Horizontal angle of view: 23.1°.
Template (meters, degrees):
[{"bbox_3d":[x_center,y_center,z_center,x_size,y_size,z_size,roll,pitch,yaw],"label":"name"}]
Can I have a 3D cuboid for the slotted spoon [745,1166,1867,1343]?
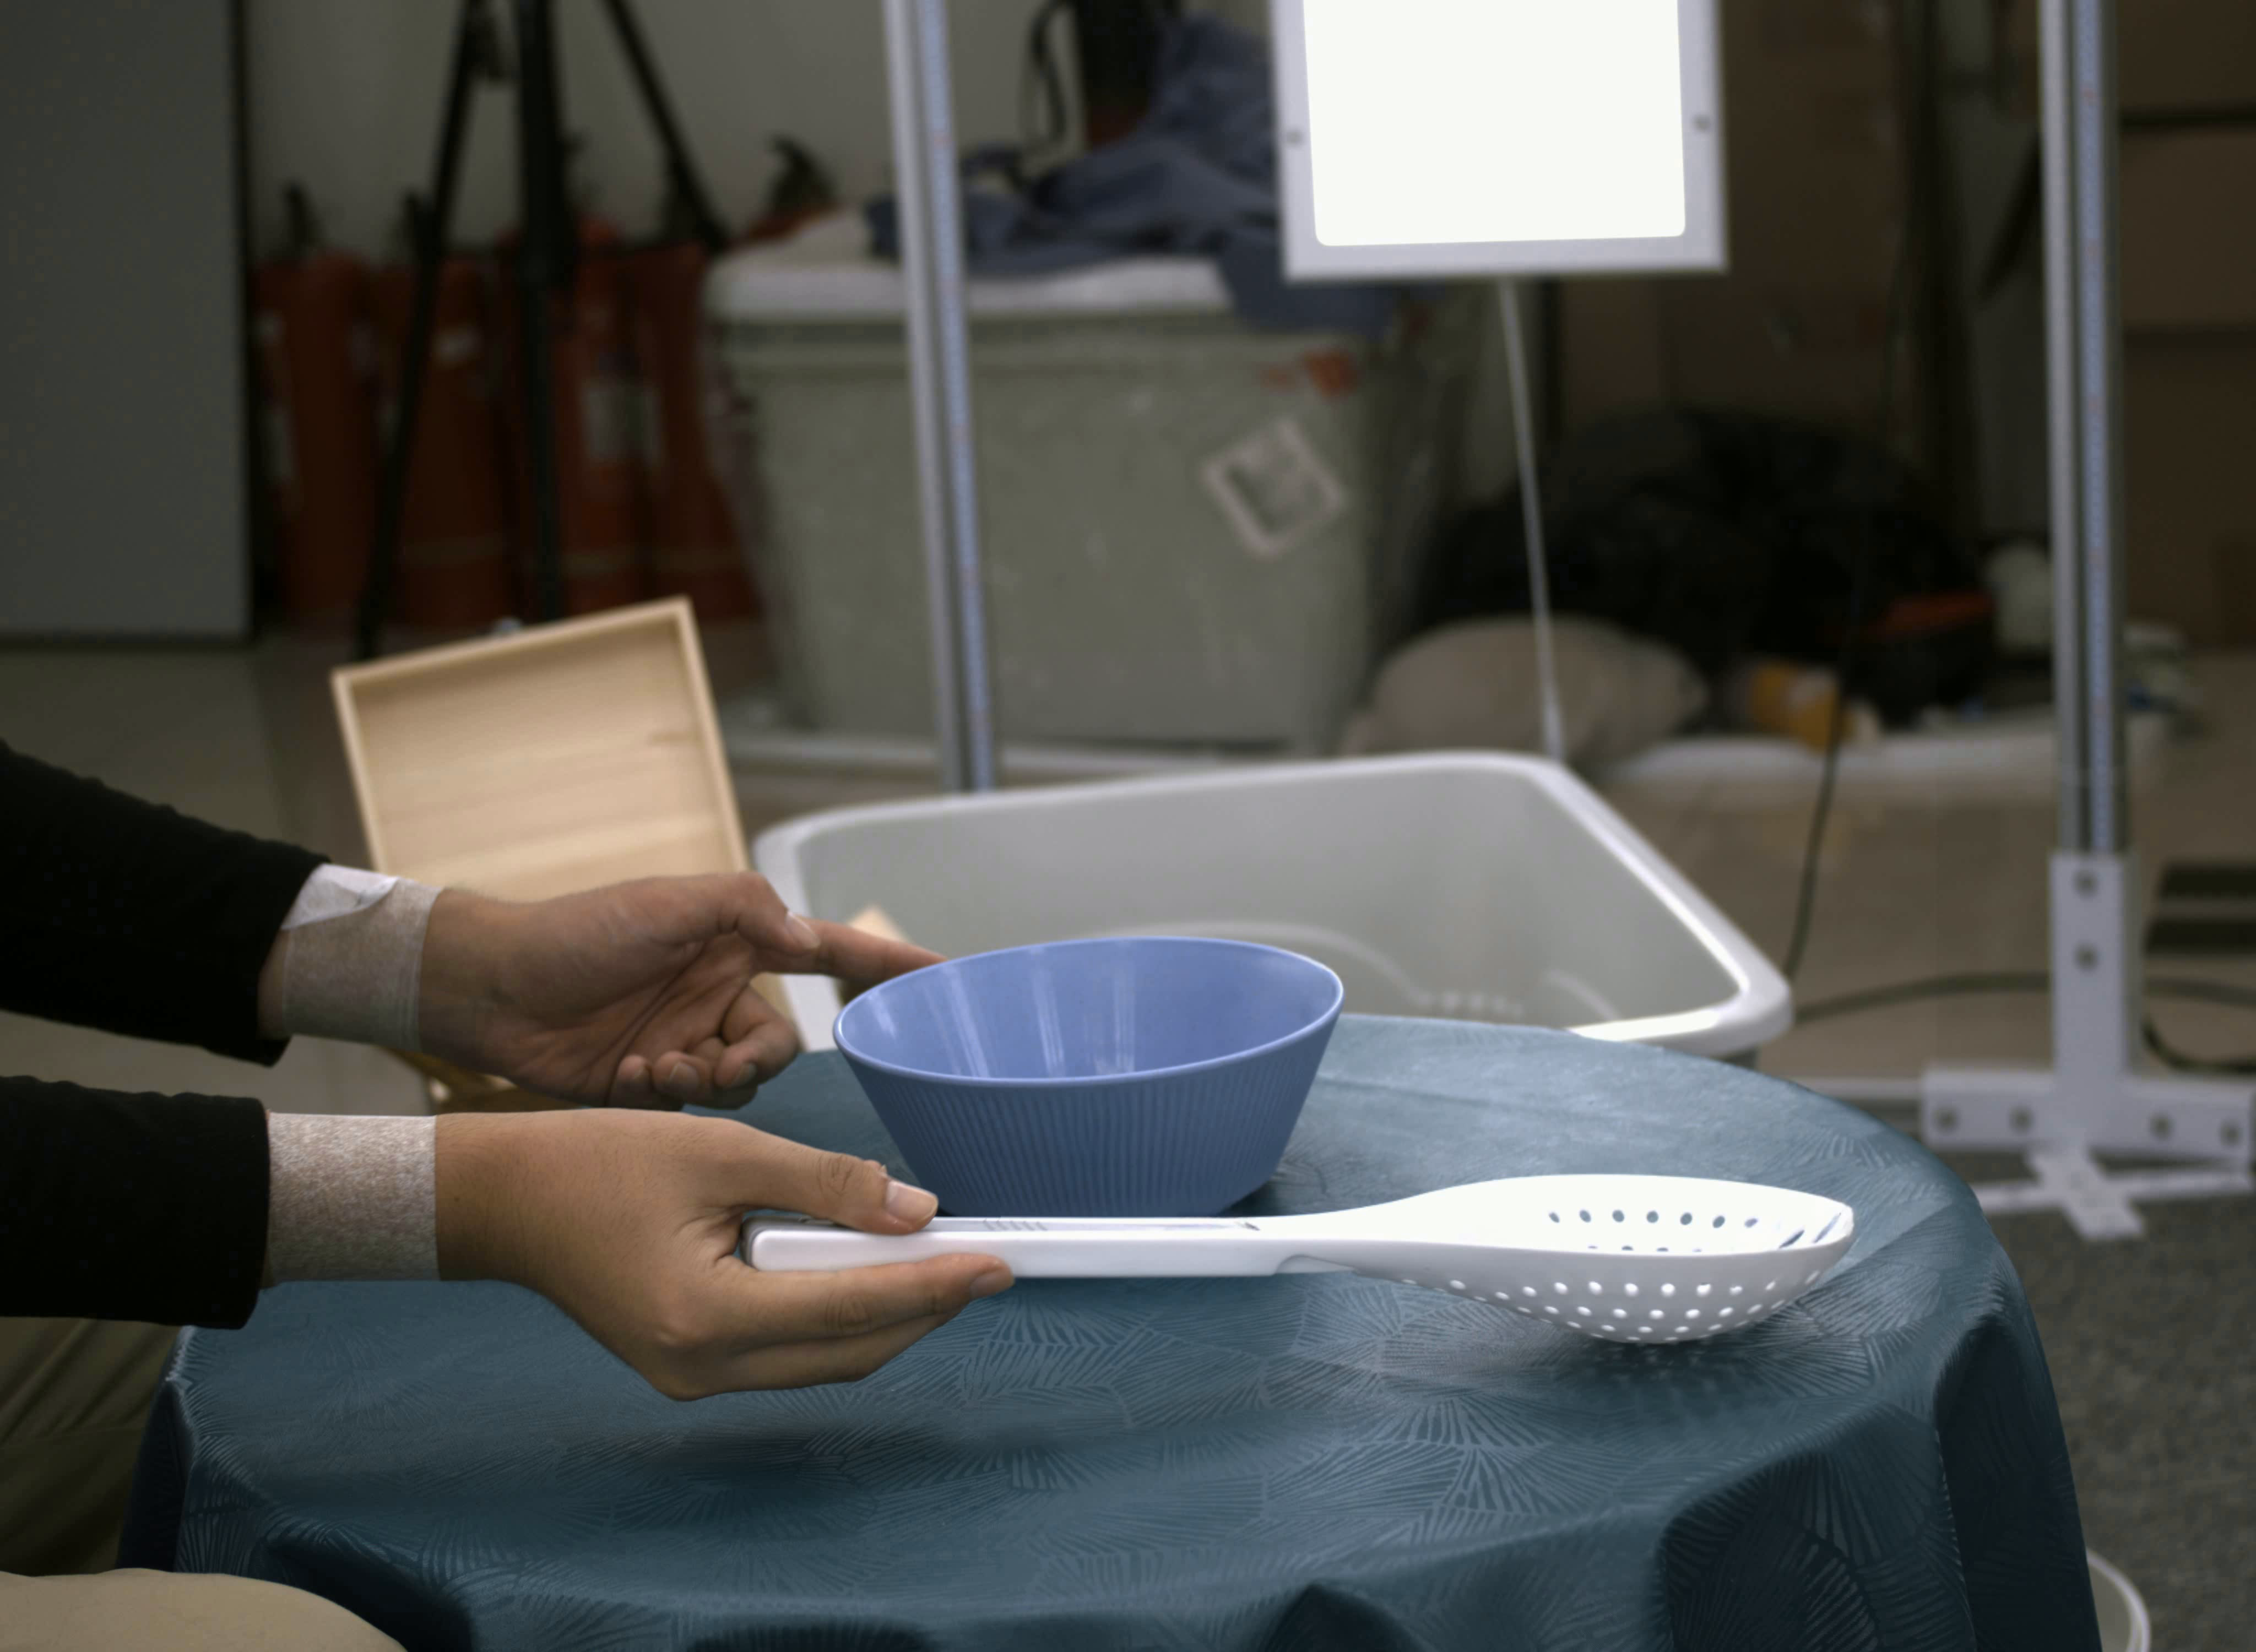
[{"bbox_3d":[0.057,0.126,1.677,0.345,0.046,0.137,5,7,-12],"label":"slotted spoon"}]

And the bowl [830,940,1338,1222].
[{"bbox_3d":[-0.012,0.093,1.893,0.175,0.070,0.176,-6,14,0],"label":"bowl"}]
